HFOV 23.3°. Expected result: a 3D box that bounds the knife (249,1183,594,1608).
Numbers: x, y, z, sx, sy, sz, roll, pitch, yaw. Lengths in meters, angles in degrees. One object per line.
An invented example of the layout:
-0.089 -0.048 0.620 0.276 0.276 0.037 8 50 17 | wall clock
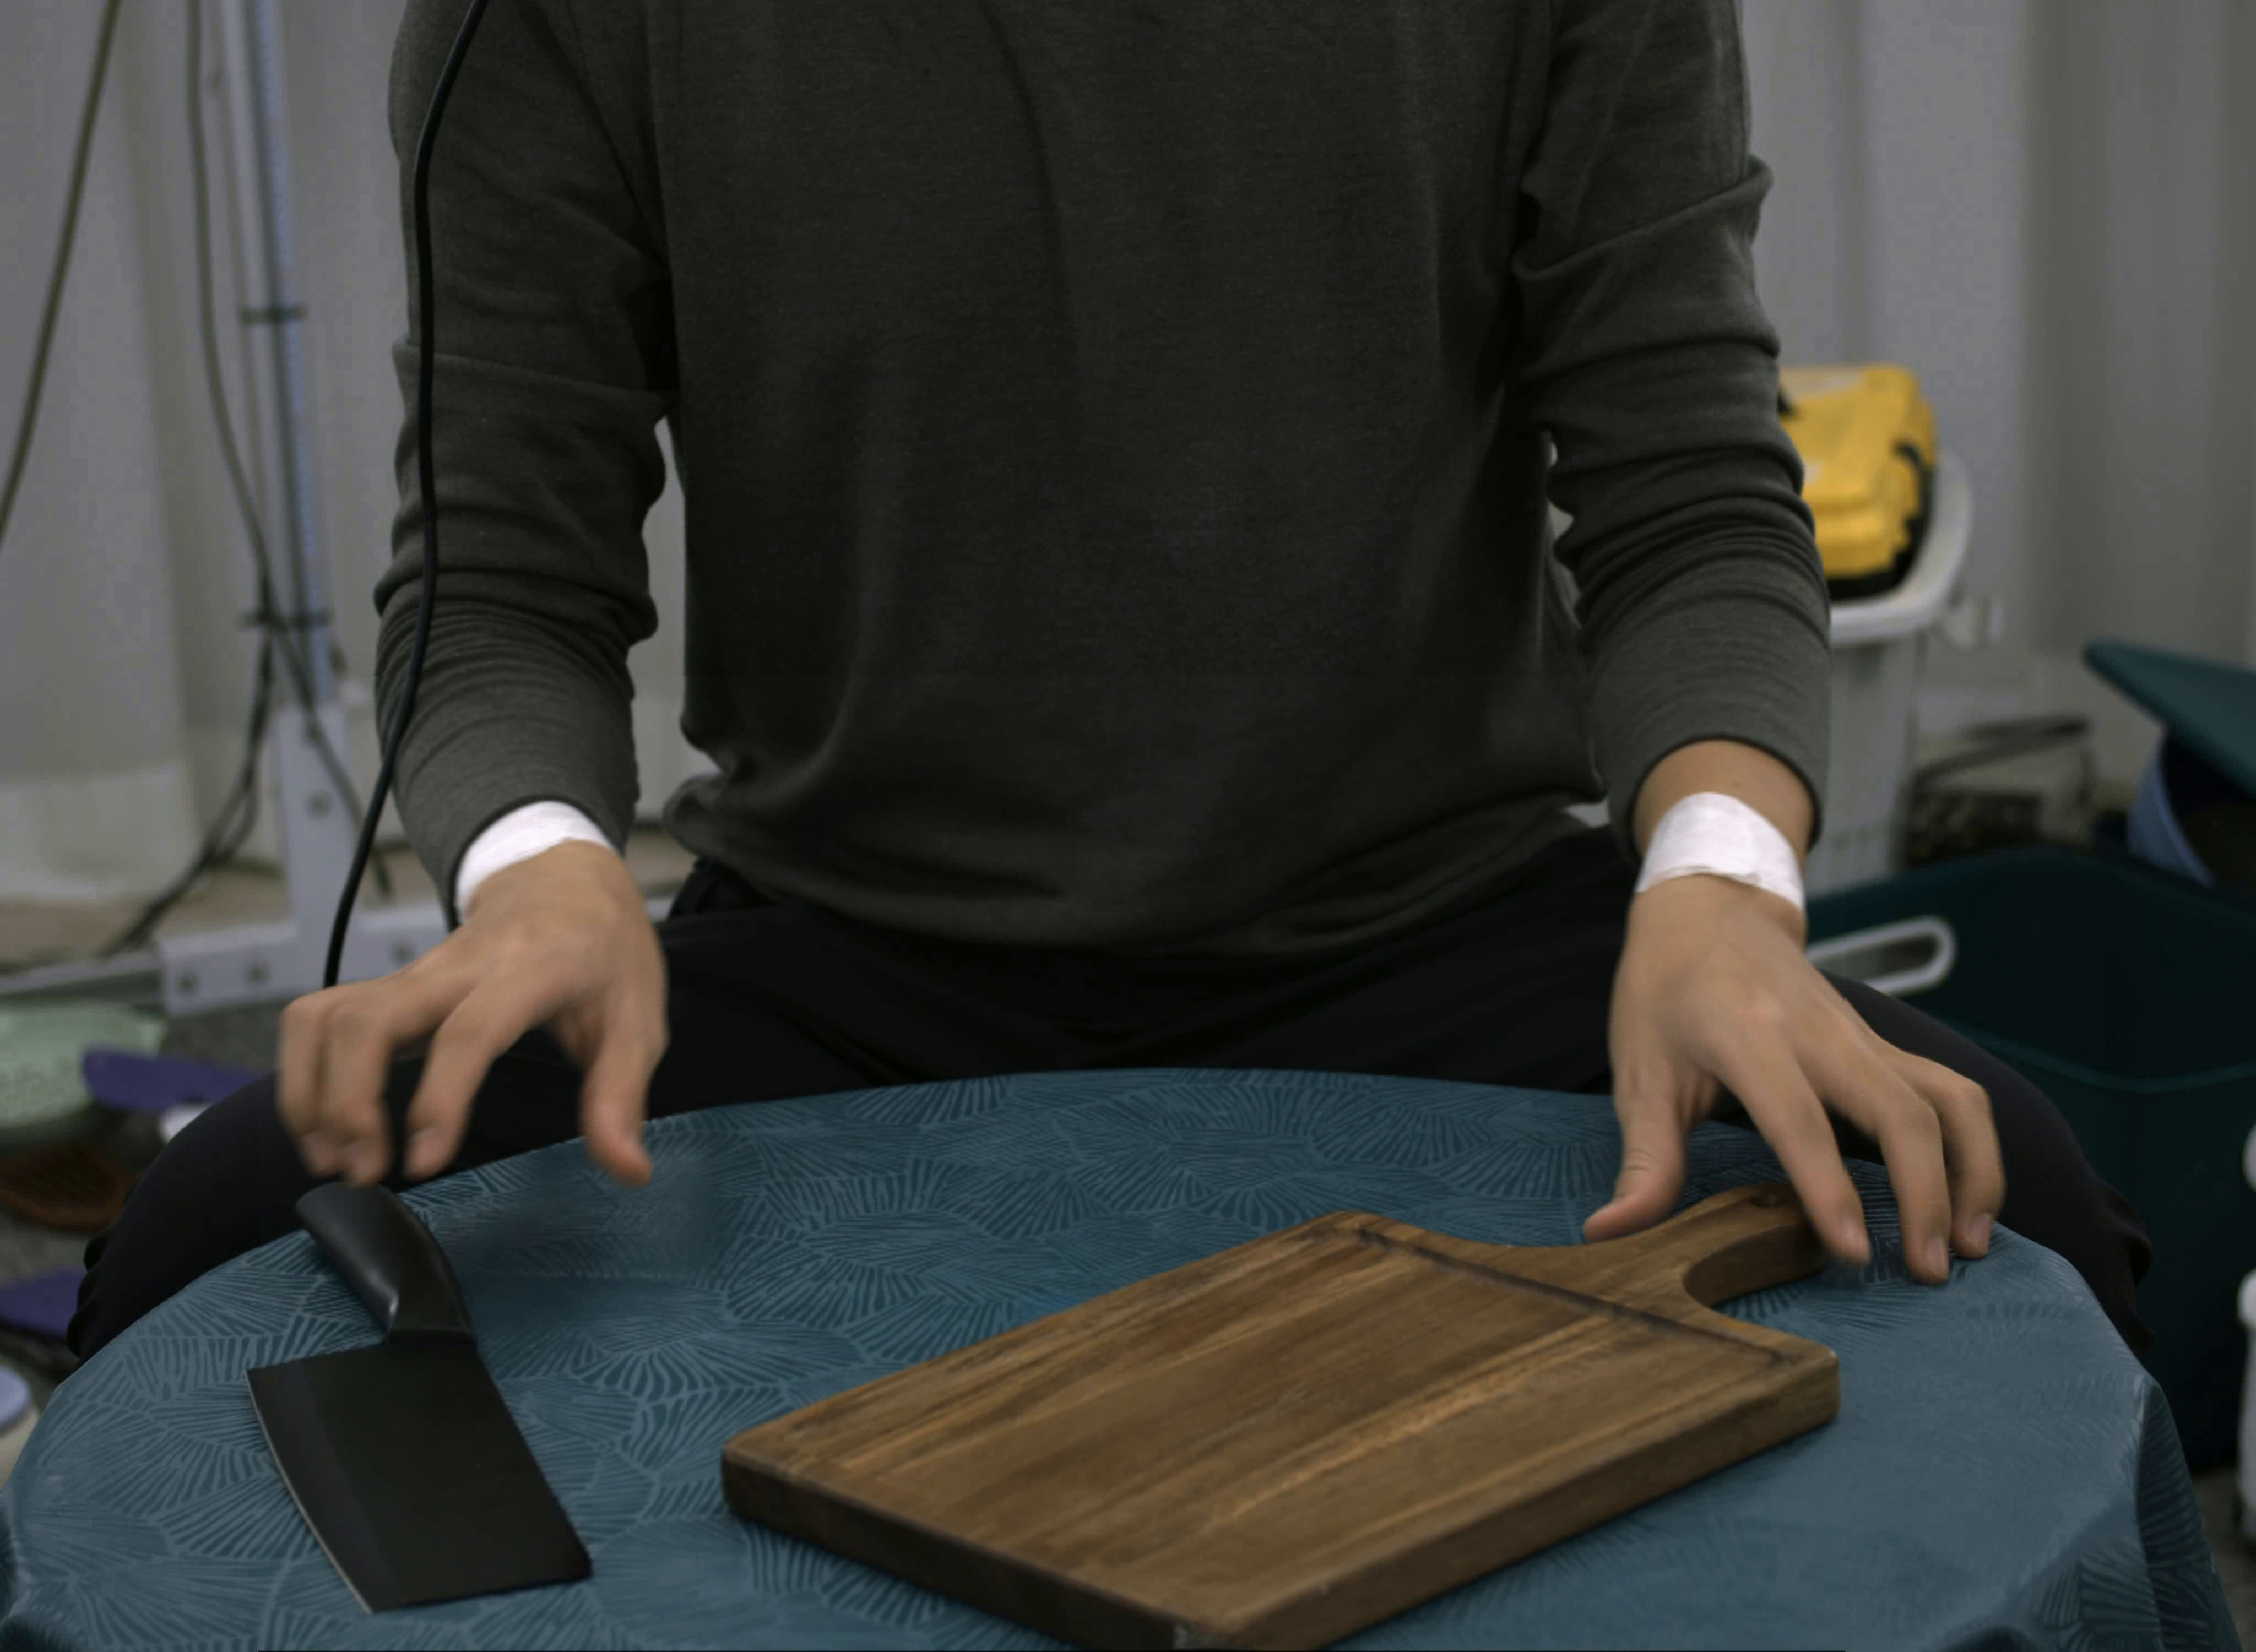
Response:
-0.211 0.160 1.560 0.080 0.021 0.305 -7 17 -12 | knife

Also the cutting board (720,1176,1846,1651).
0.079 0.153 1.517 0.351 0.023 0.202 -16 20 -42 | cutting board
